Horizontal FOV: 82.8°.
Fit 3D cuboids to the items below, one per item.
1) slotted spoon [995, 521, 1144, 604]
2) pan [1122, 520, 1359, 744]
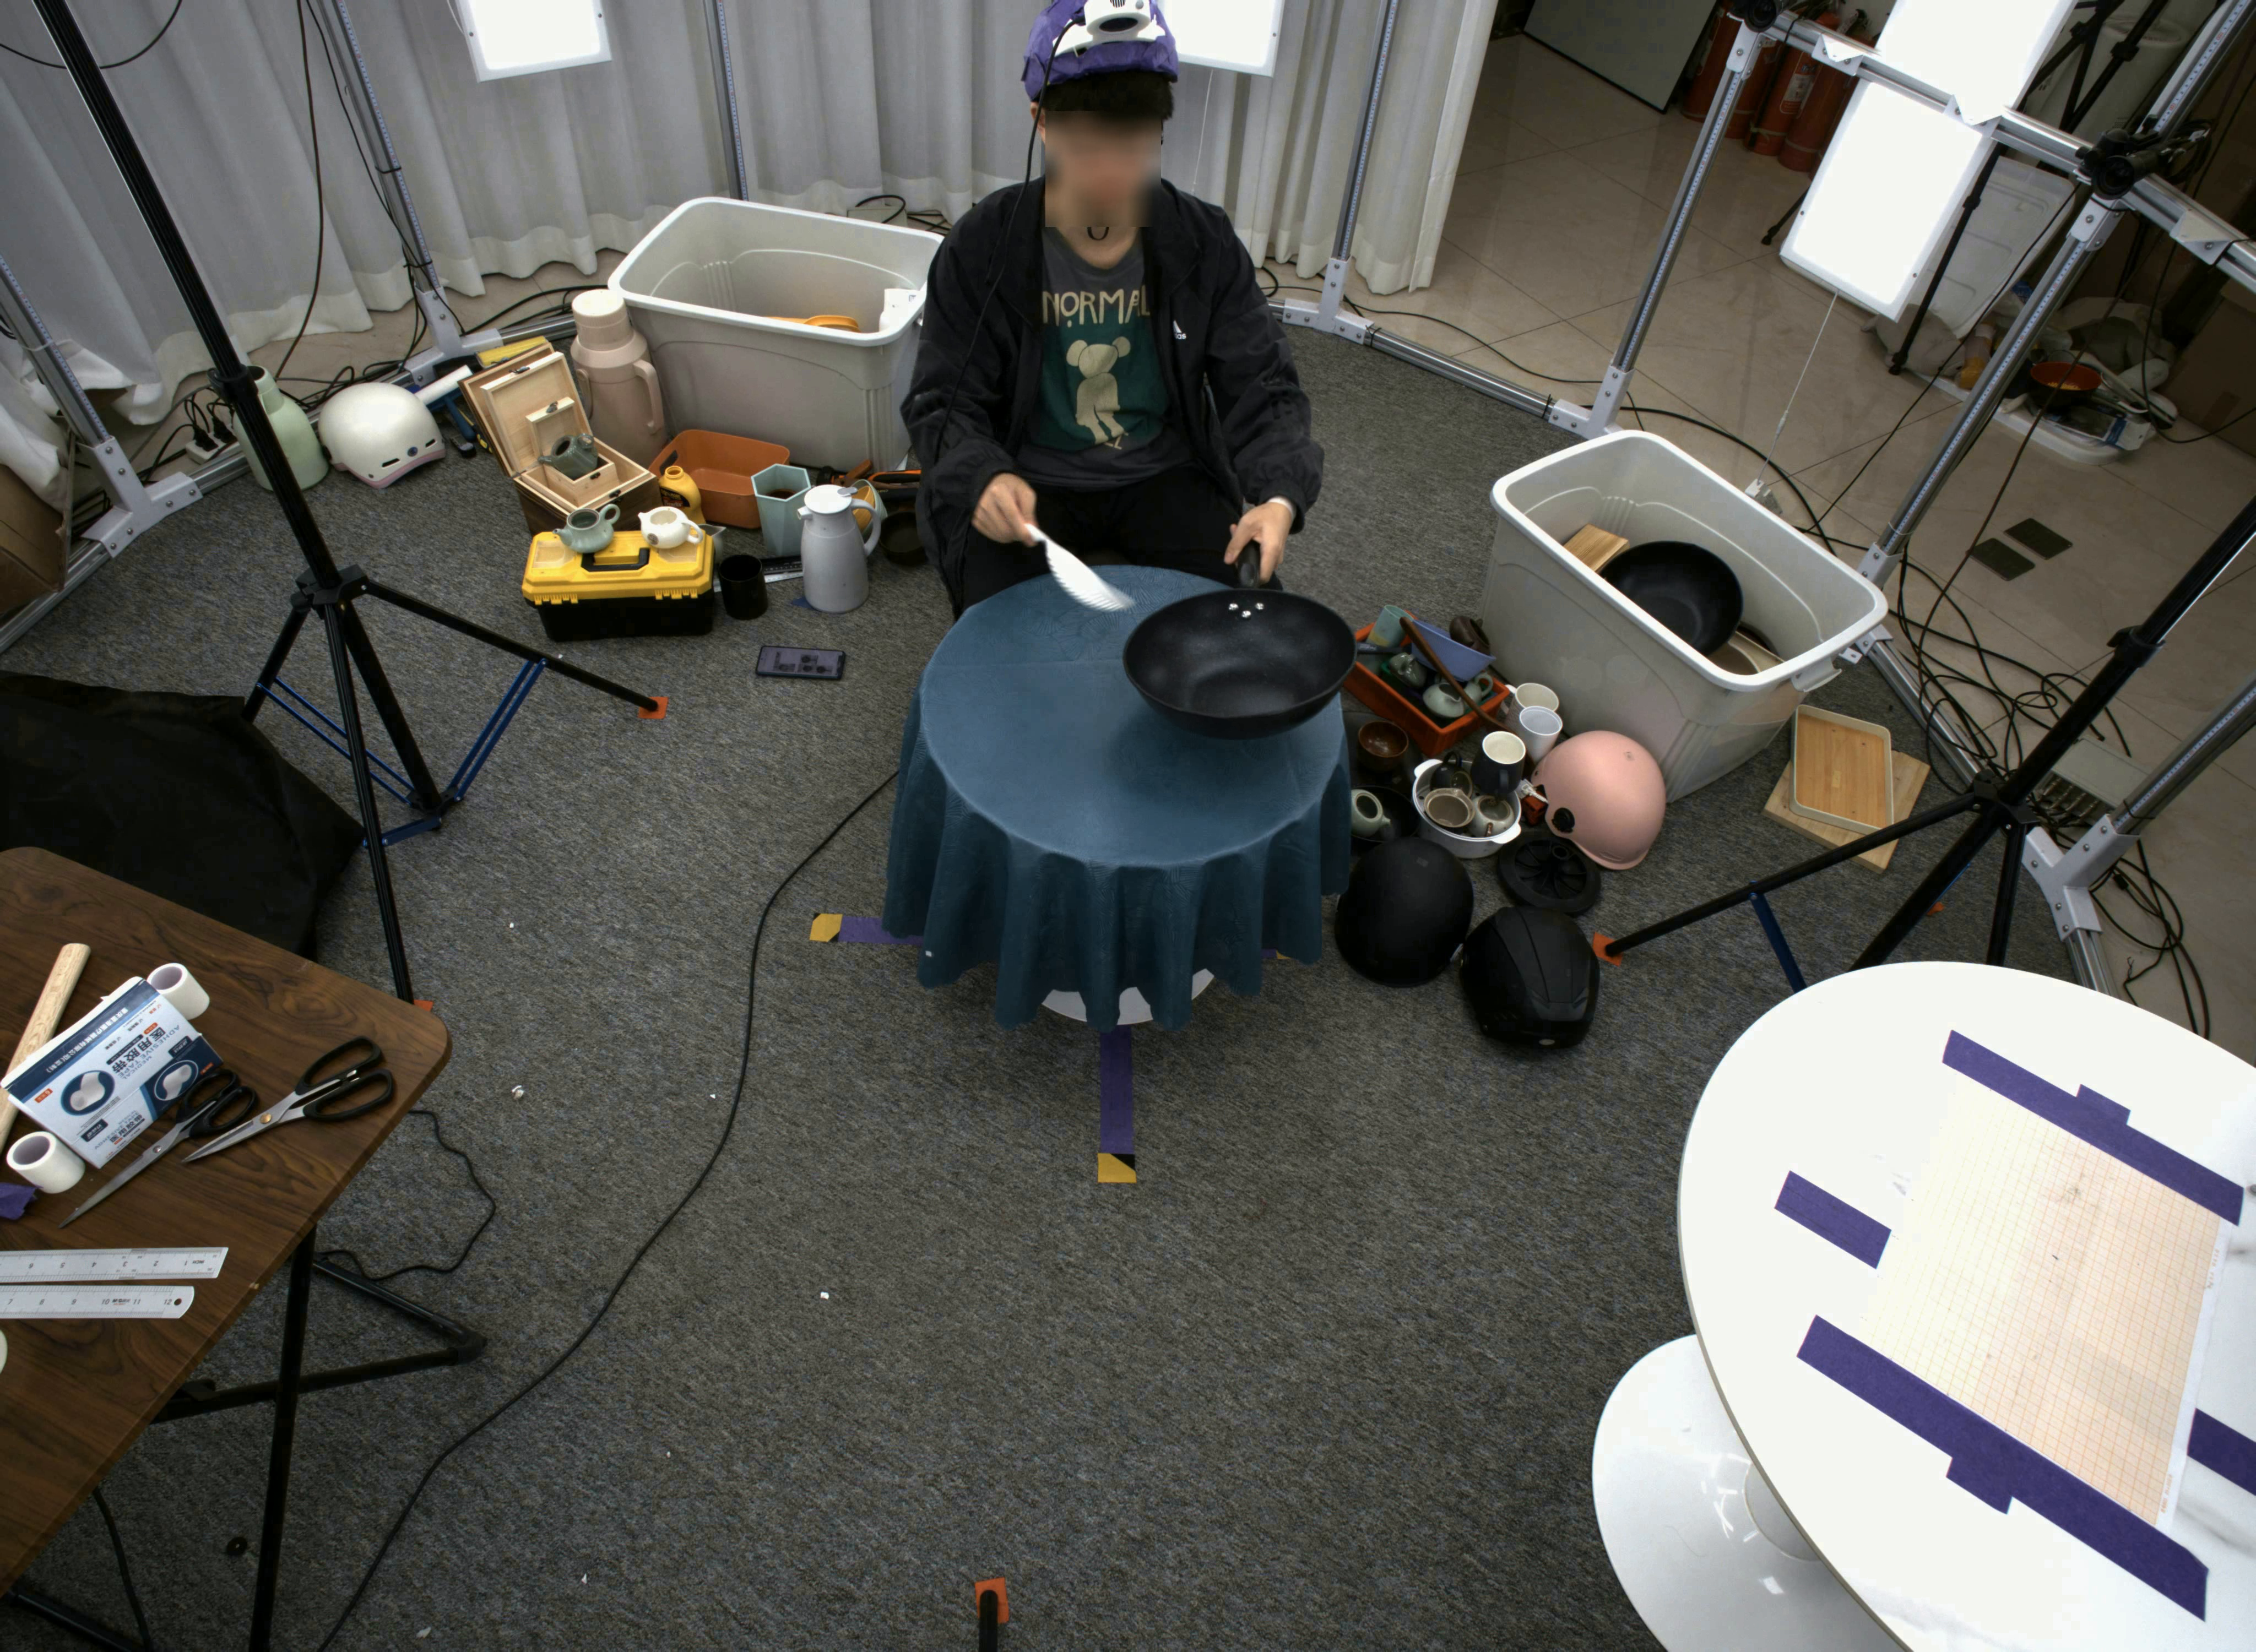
[{"bbox_3d":[-0.098,-0.374,1.764,0.135,0.050,0.355,24,15,-38],"label":"slotted spoon"},{"bbox_3d":[0.159,-0.261,1.767,0.310,0.109,0.488,2,40,8],"label":"pan"}]
